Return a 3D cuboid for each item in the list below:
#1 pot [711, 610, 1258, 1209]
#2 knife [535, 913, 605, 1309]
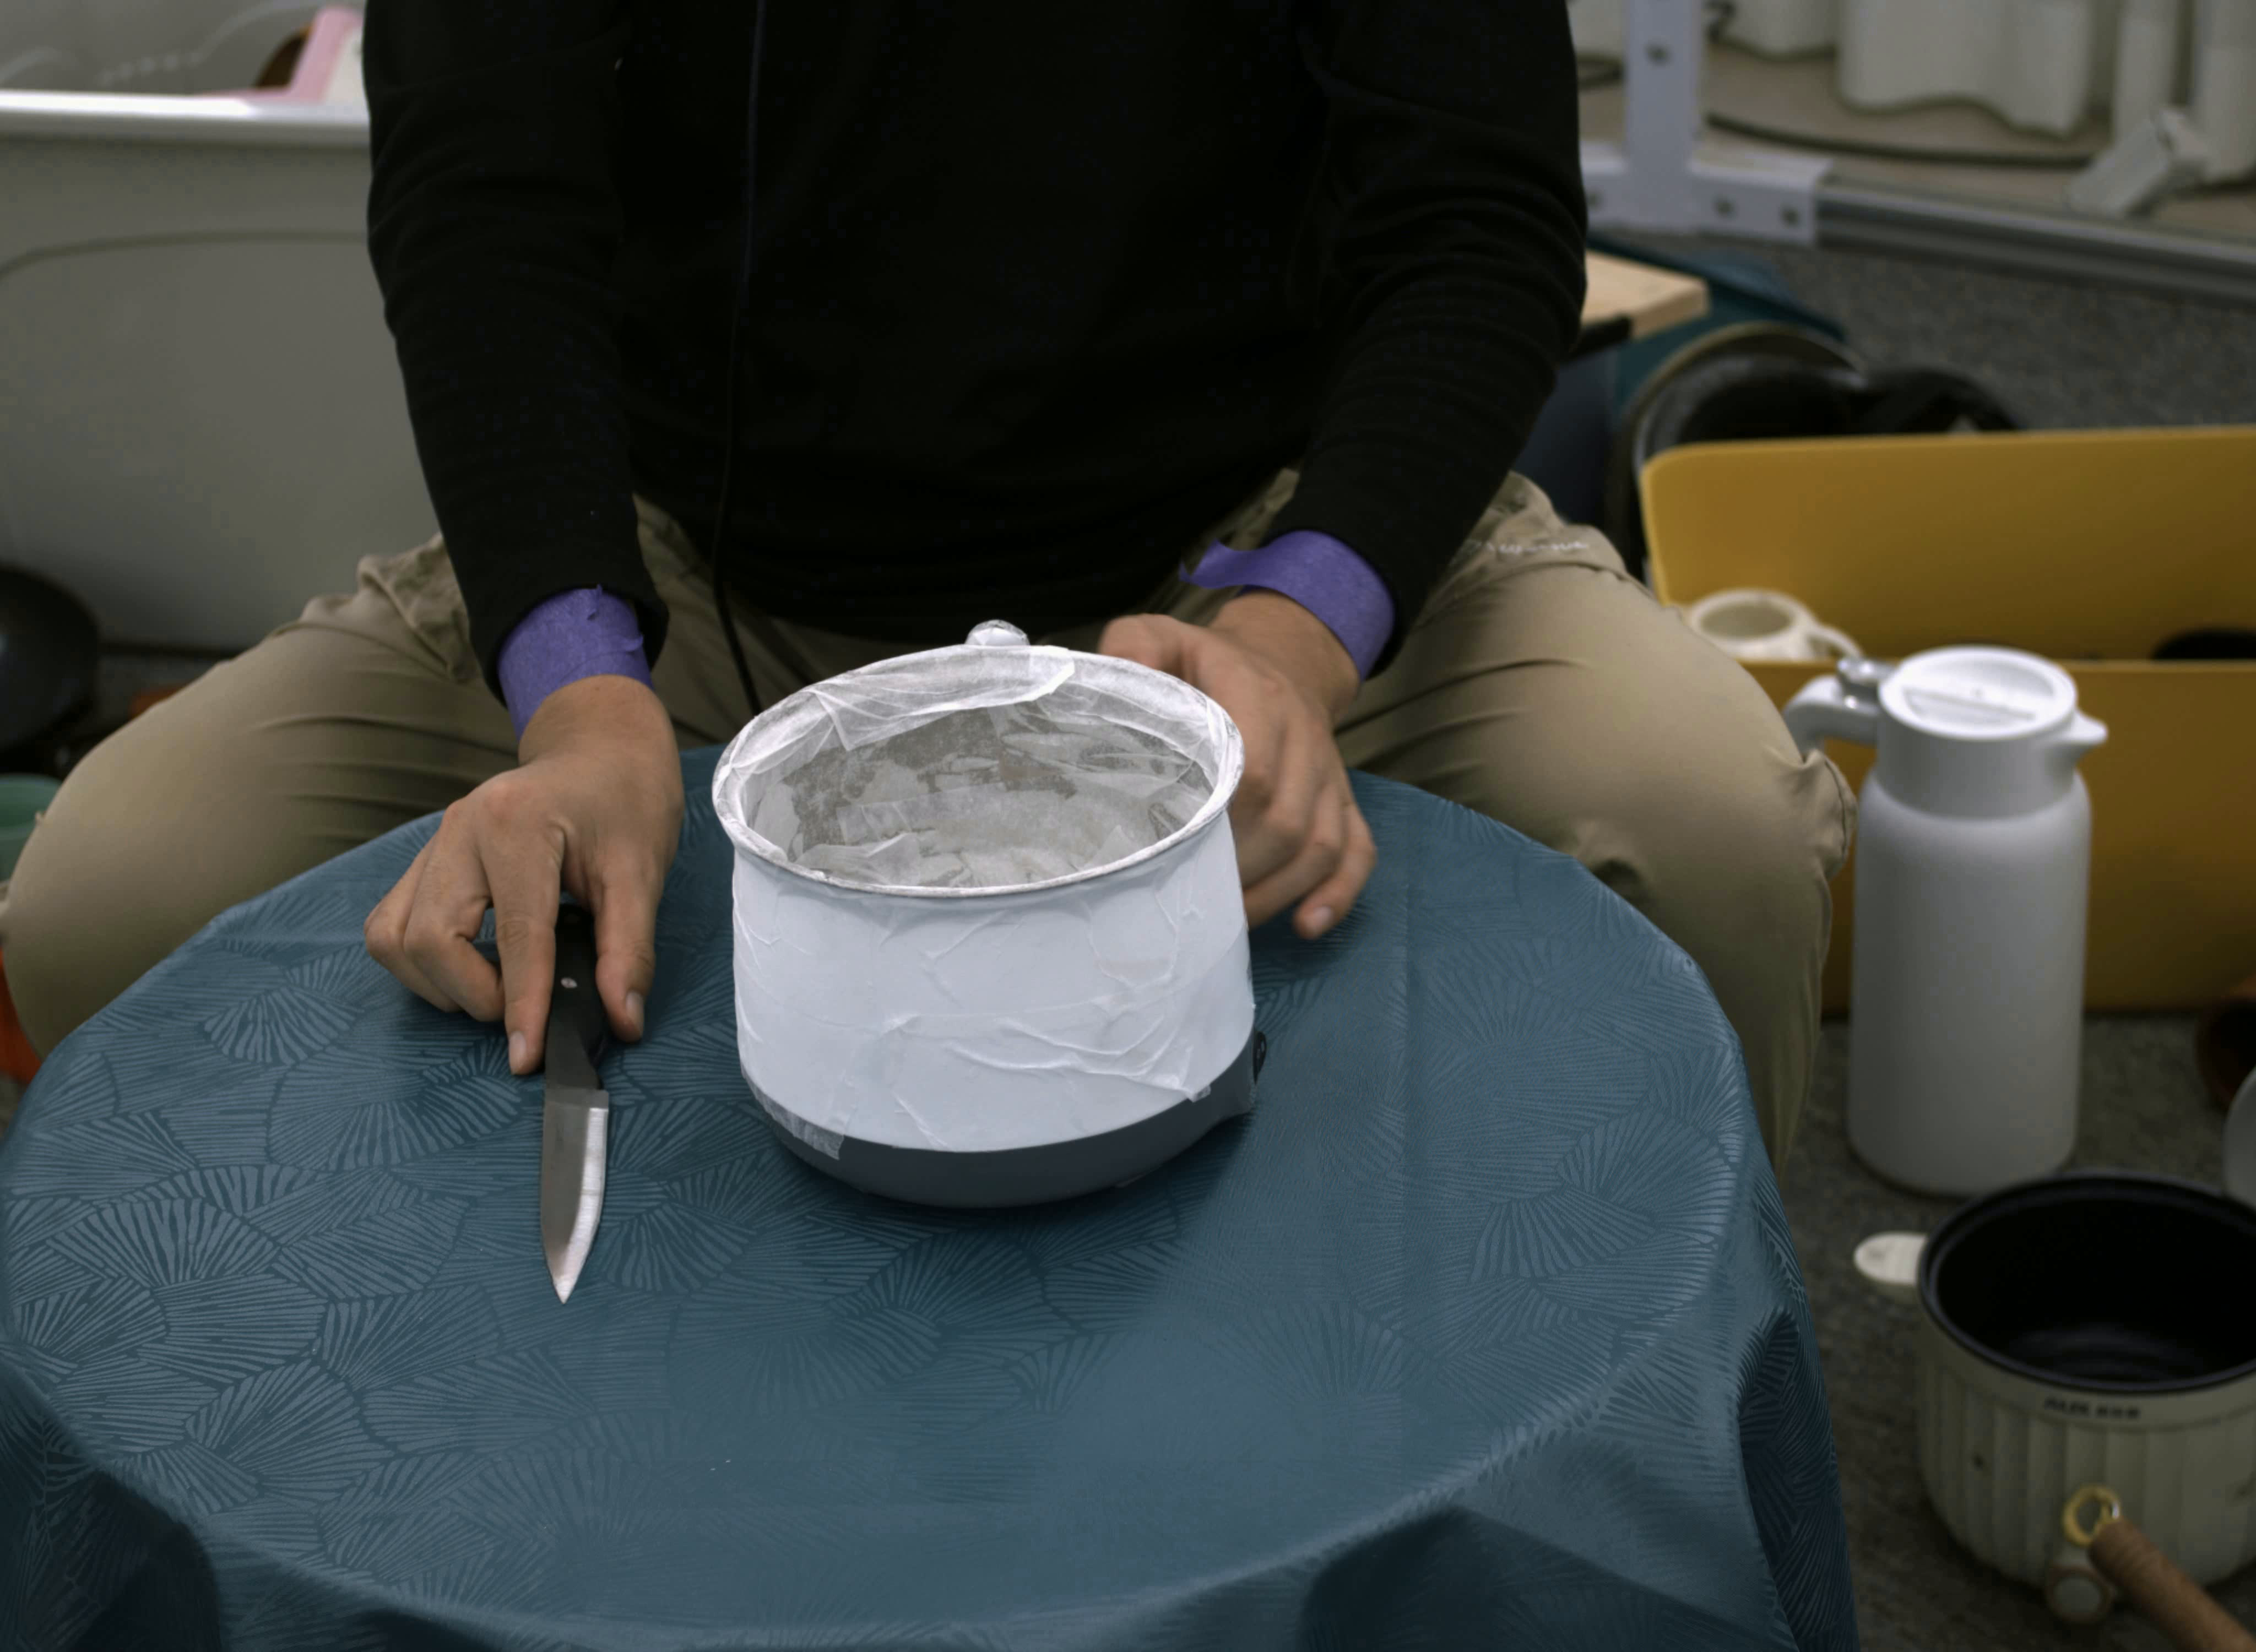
[{"bbox_3d":[-0.046,0.021,1.906,0.178,0.135,0.237,-1,28,1],"label":"pot"},{"bbox_3d":[-0.190,0.096,1.915,0.024,0.016,0.242,7,29,-9],"label":"knife"}]
